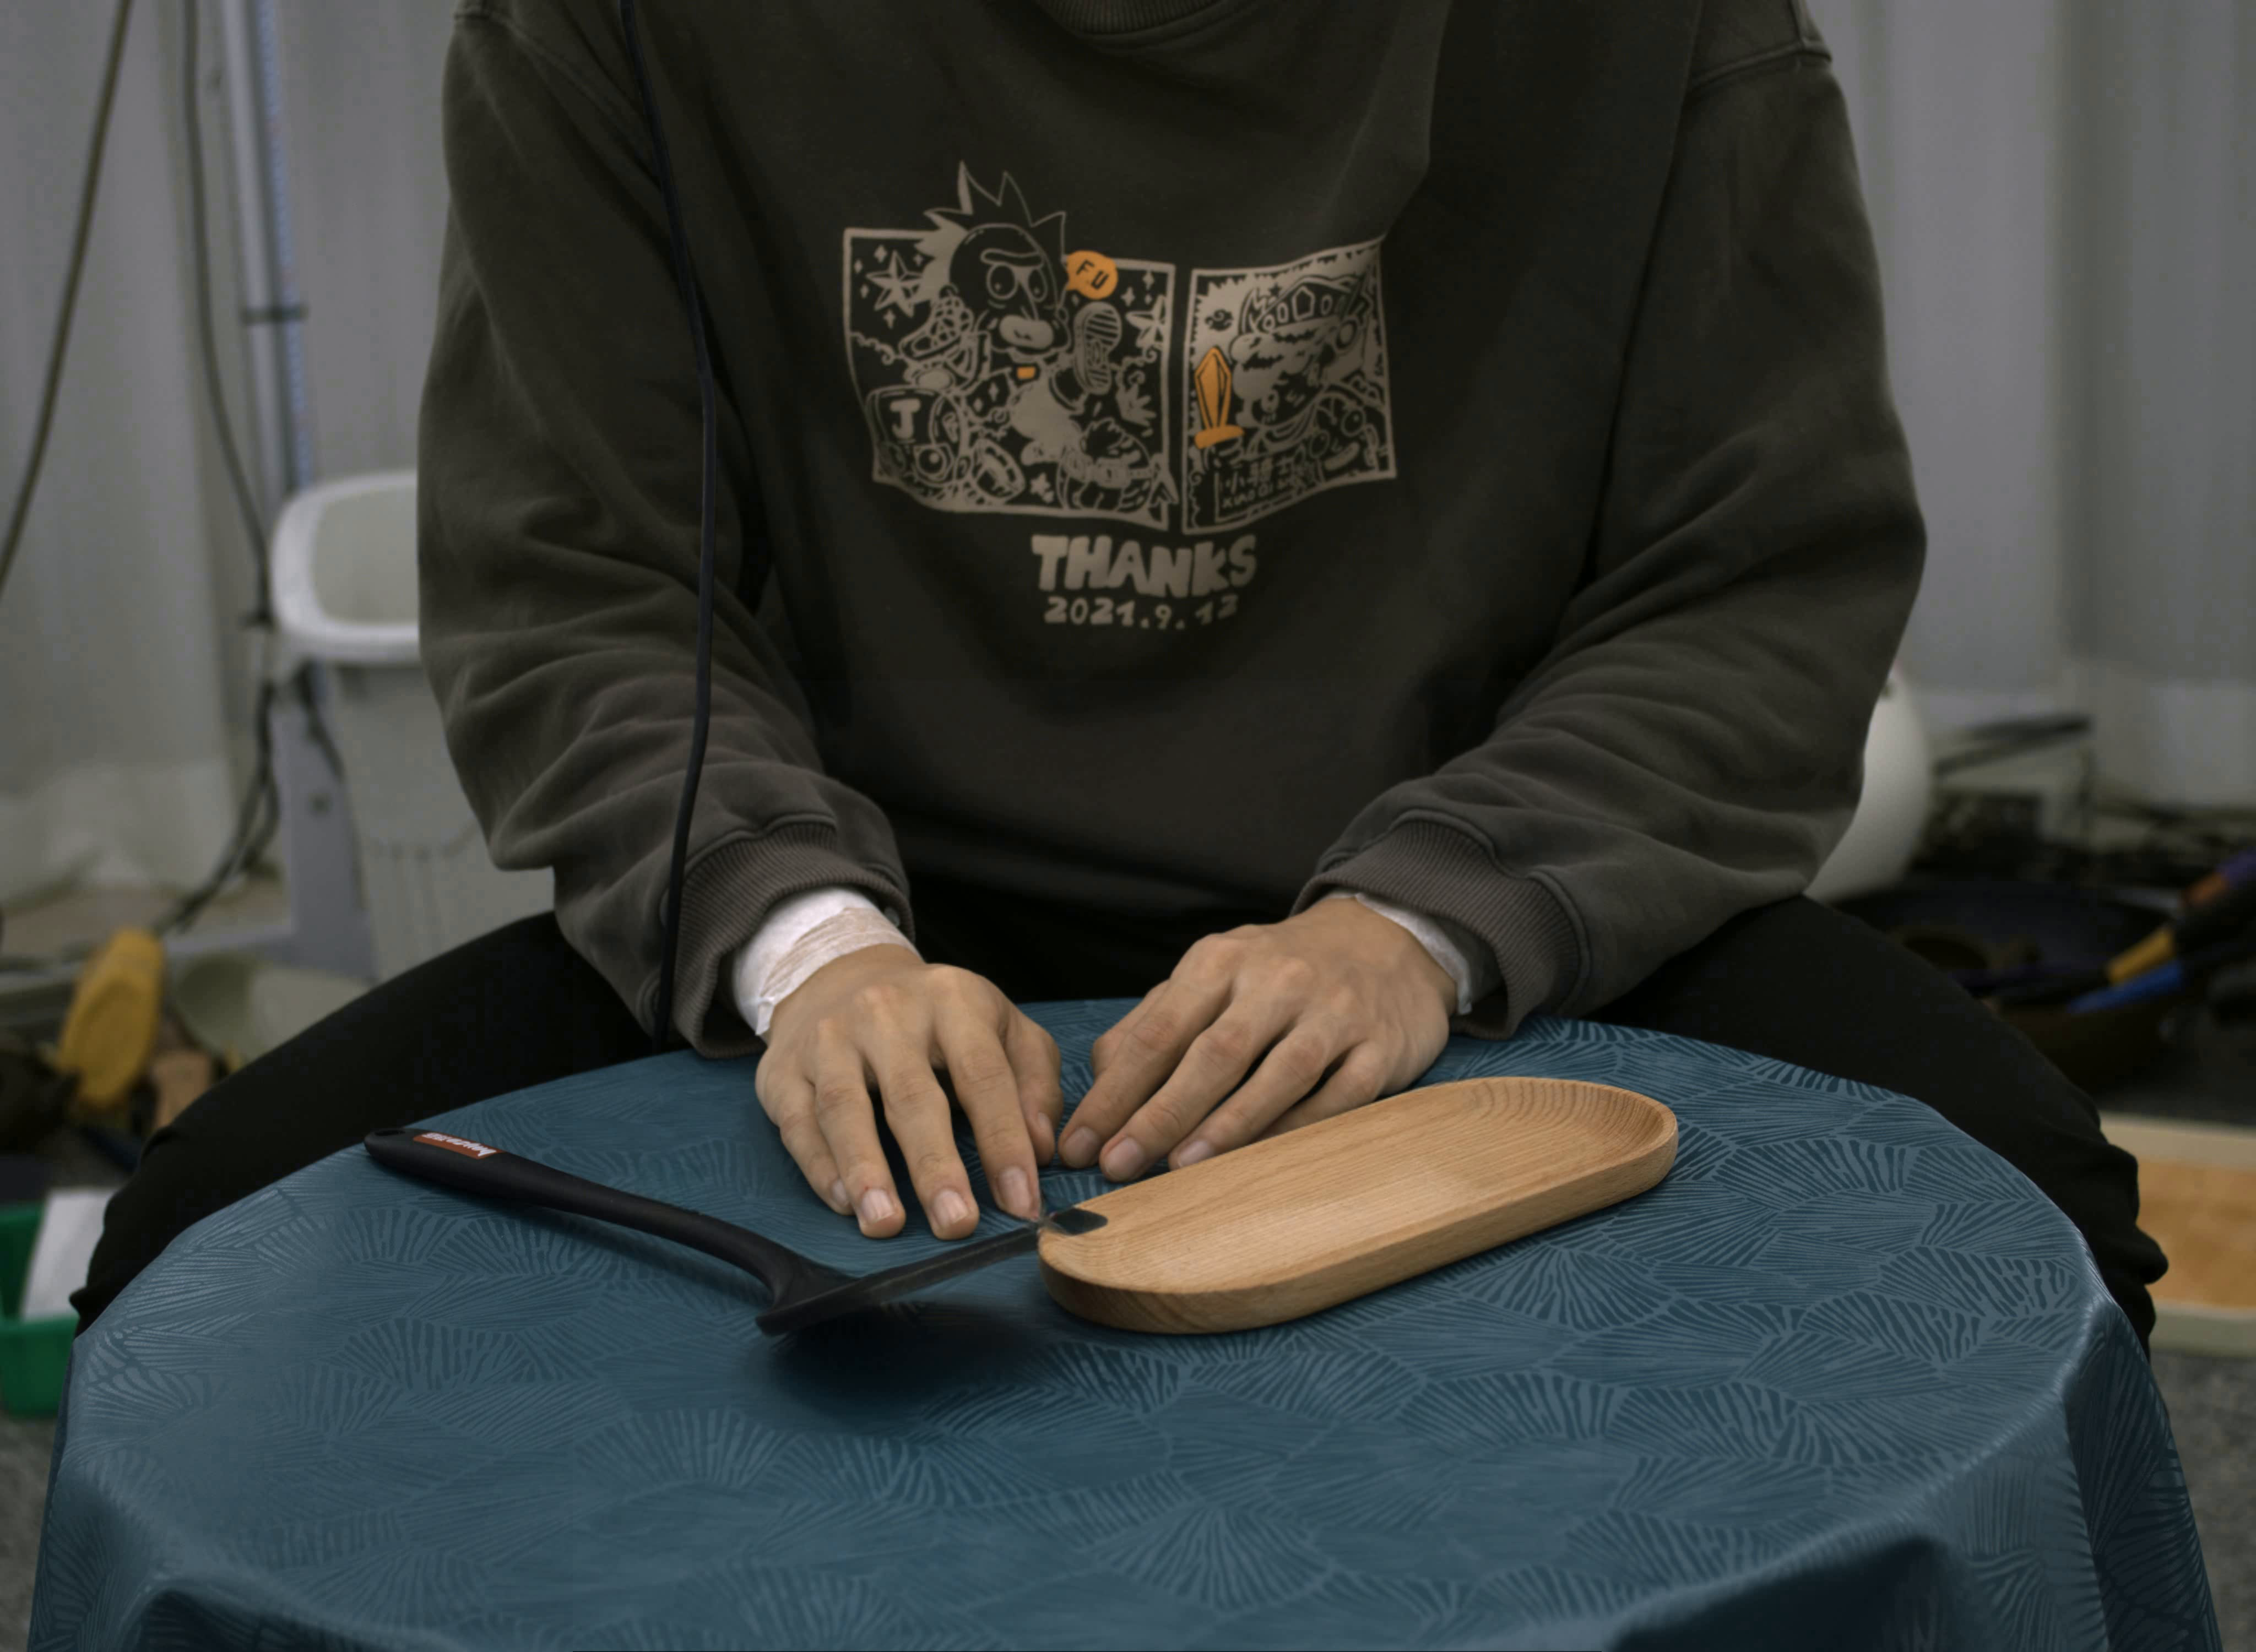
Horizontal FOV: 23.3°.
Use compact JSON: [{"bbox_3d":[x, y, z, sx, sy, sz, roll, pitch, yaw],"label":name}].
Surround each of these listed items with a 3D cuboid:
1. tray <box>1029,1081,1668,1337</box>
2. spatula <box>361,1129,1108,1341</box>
[{"bbox_3d":[0.070,0.116,1.673,0.230,0.020,0.102,-17,20,-39],"label":"tray"},{"bbox_3d":[-0.142,0.116,1.676,0.099,0.040,0.328,-14,18,-39],"label":"spatula"}]
